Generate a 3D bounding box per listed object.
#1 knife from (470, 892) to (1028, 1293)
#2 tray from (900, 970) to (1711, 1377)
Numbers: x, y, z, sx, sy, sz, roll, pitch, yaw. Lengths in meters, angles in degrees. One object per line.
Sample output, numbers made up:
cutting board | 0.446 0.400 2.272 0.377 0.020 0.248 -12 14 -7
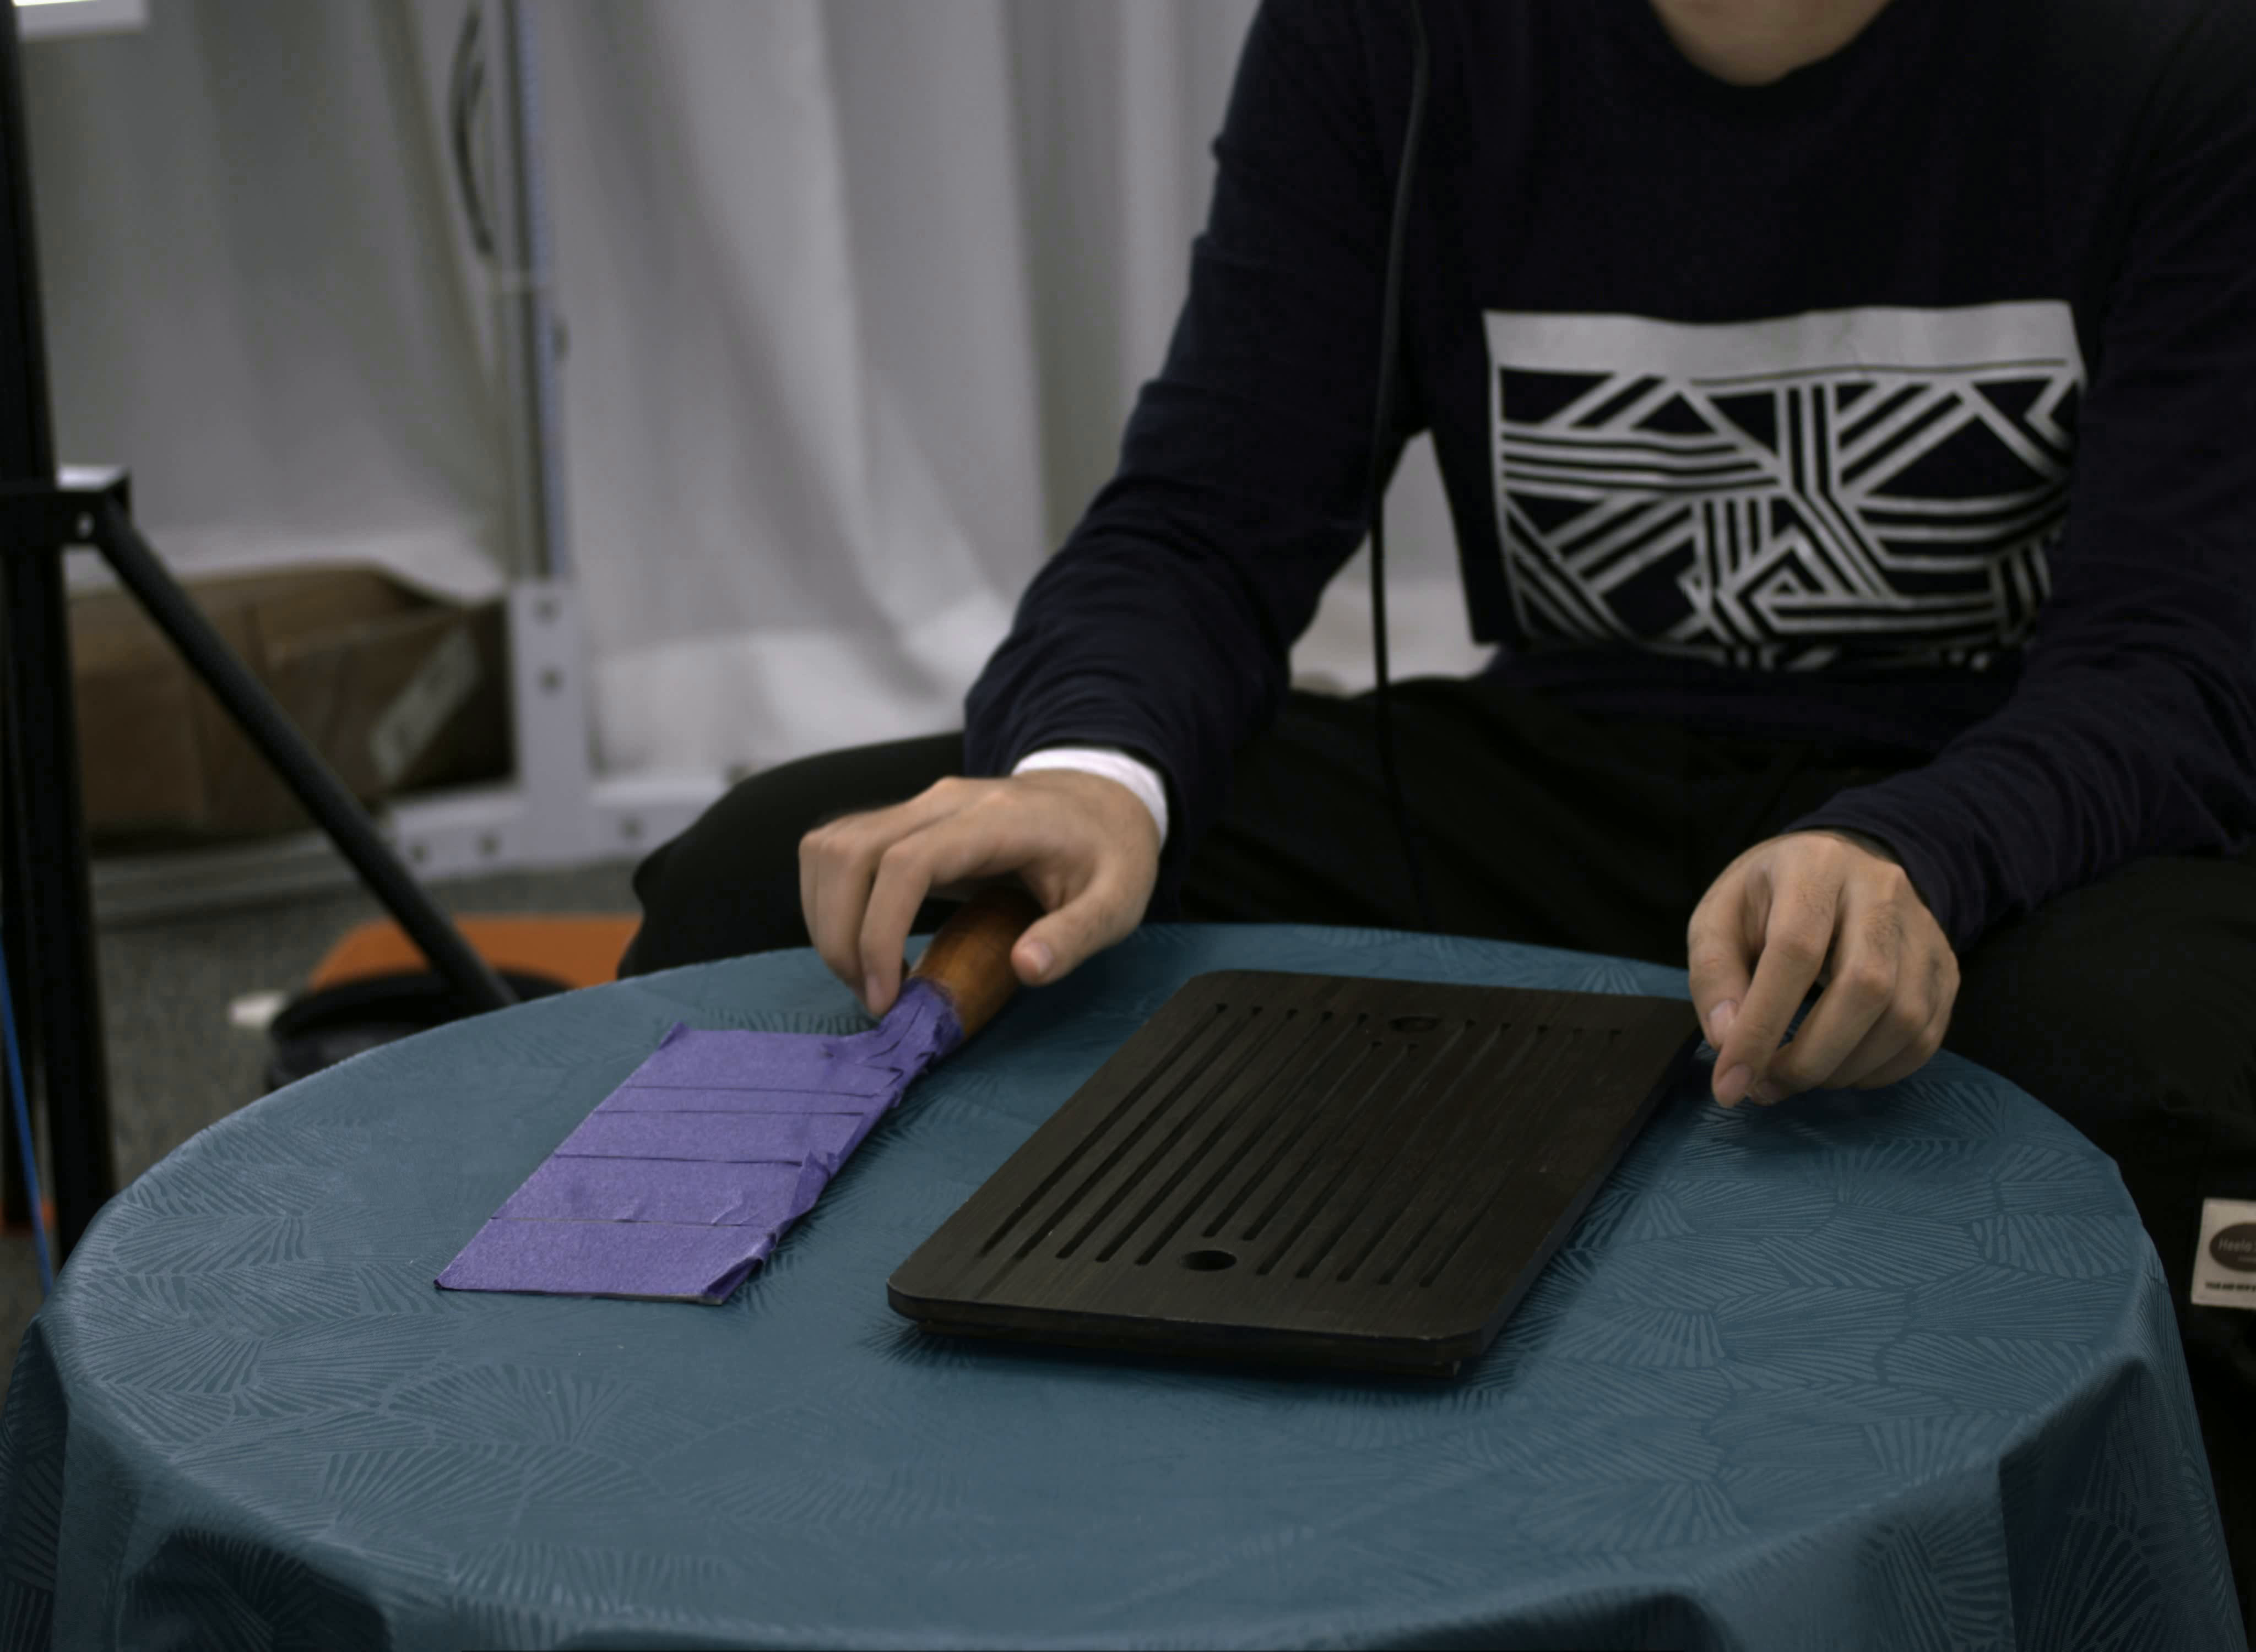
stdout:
knife | -0.113 0.078 1.634 0.104 0.032 0.313 2 17 15
tray | 0.060 0.098 1.553 0.172 0.018 0.302 3 16 18
